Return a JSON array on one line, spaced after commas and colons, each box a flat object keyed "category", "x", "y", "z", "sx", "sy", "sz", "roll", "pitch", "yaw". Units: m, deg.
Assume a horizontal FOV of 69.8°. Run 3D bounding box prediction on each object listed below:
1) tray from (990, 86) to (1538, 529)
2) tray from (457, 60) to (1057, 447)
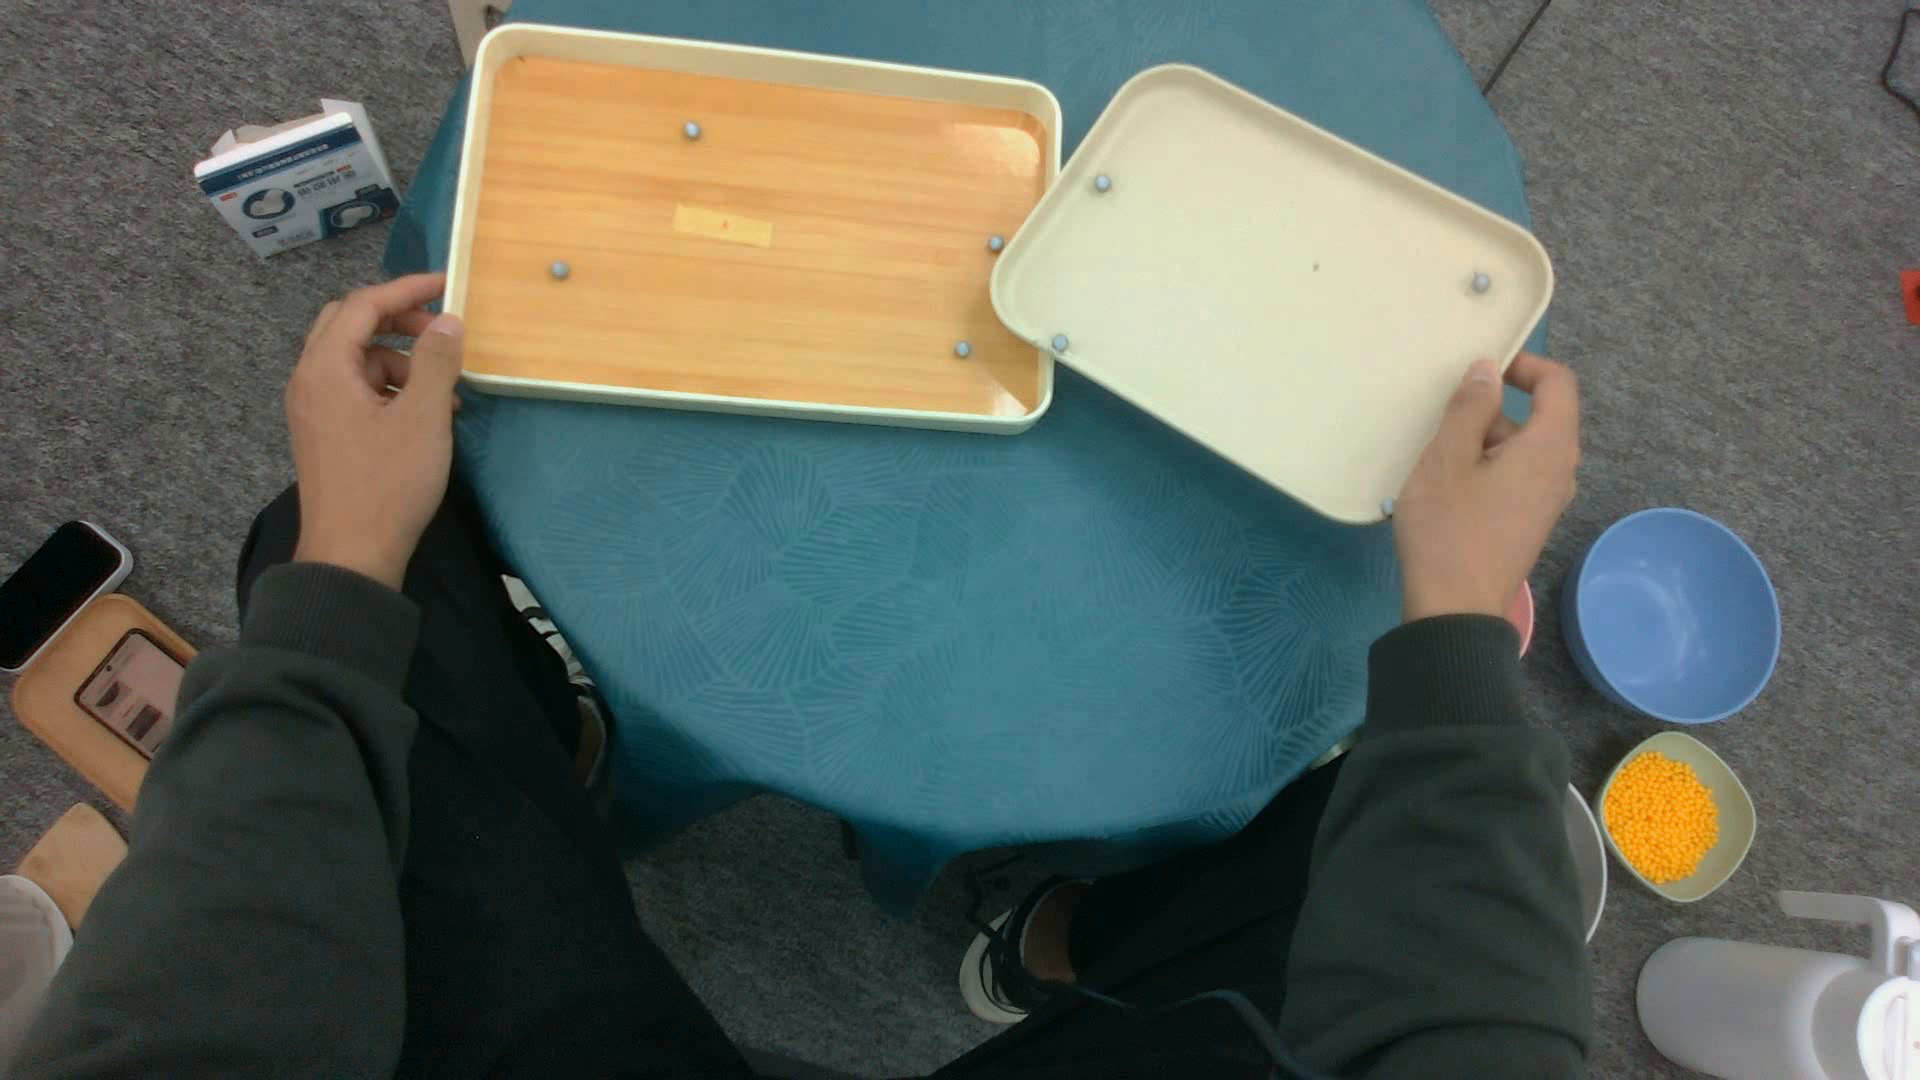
[{"category": "tray", "x": 0.148, "y": -0.121, "z": 0.693, "sx": 0.239, "sy": 0.017, "sz": 0.171, "roll": 32, "pitch": 81, "yaw": 18}, {"category": "tray", "x": -0.099, "y": -0.149, "z": 0.723, "sx": 0.300, "sy": 0.027, "sz": 0.192, "roll": 3, "pitch": 77, "yaw": -6}]
